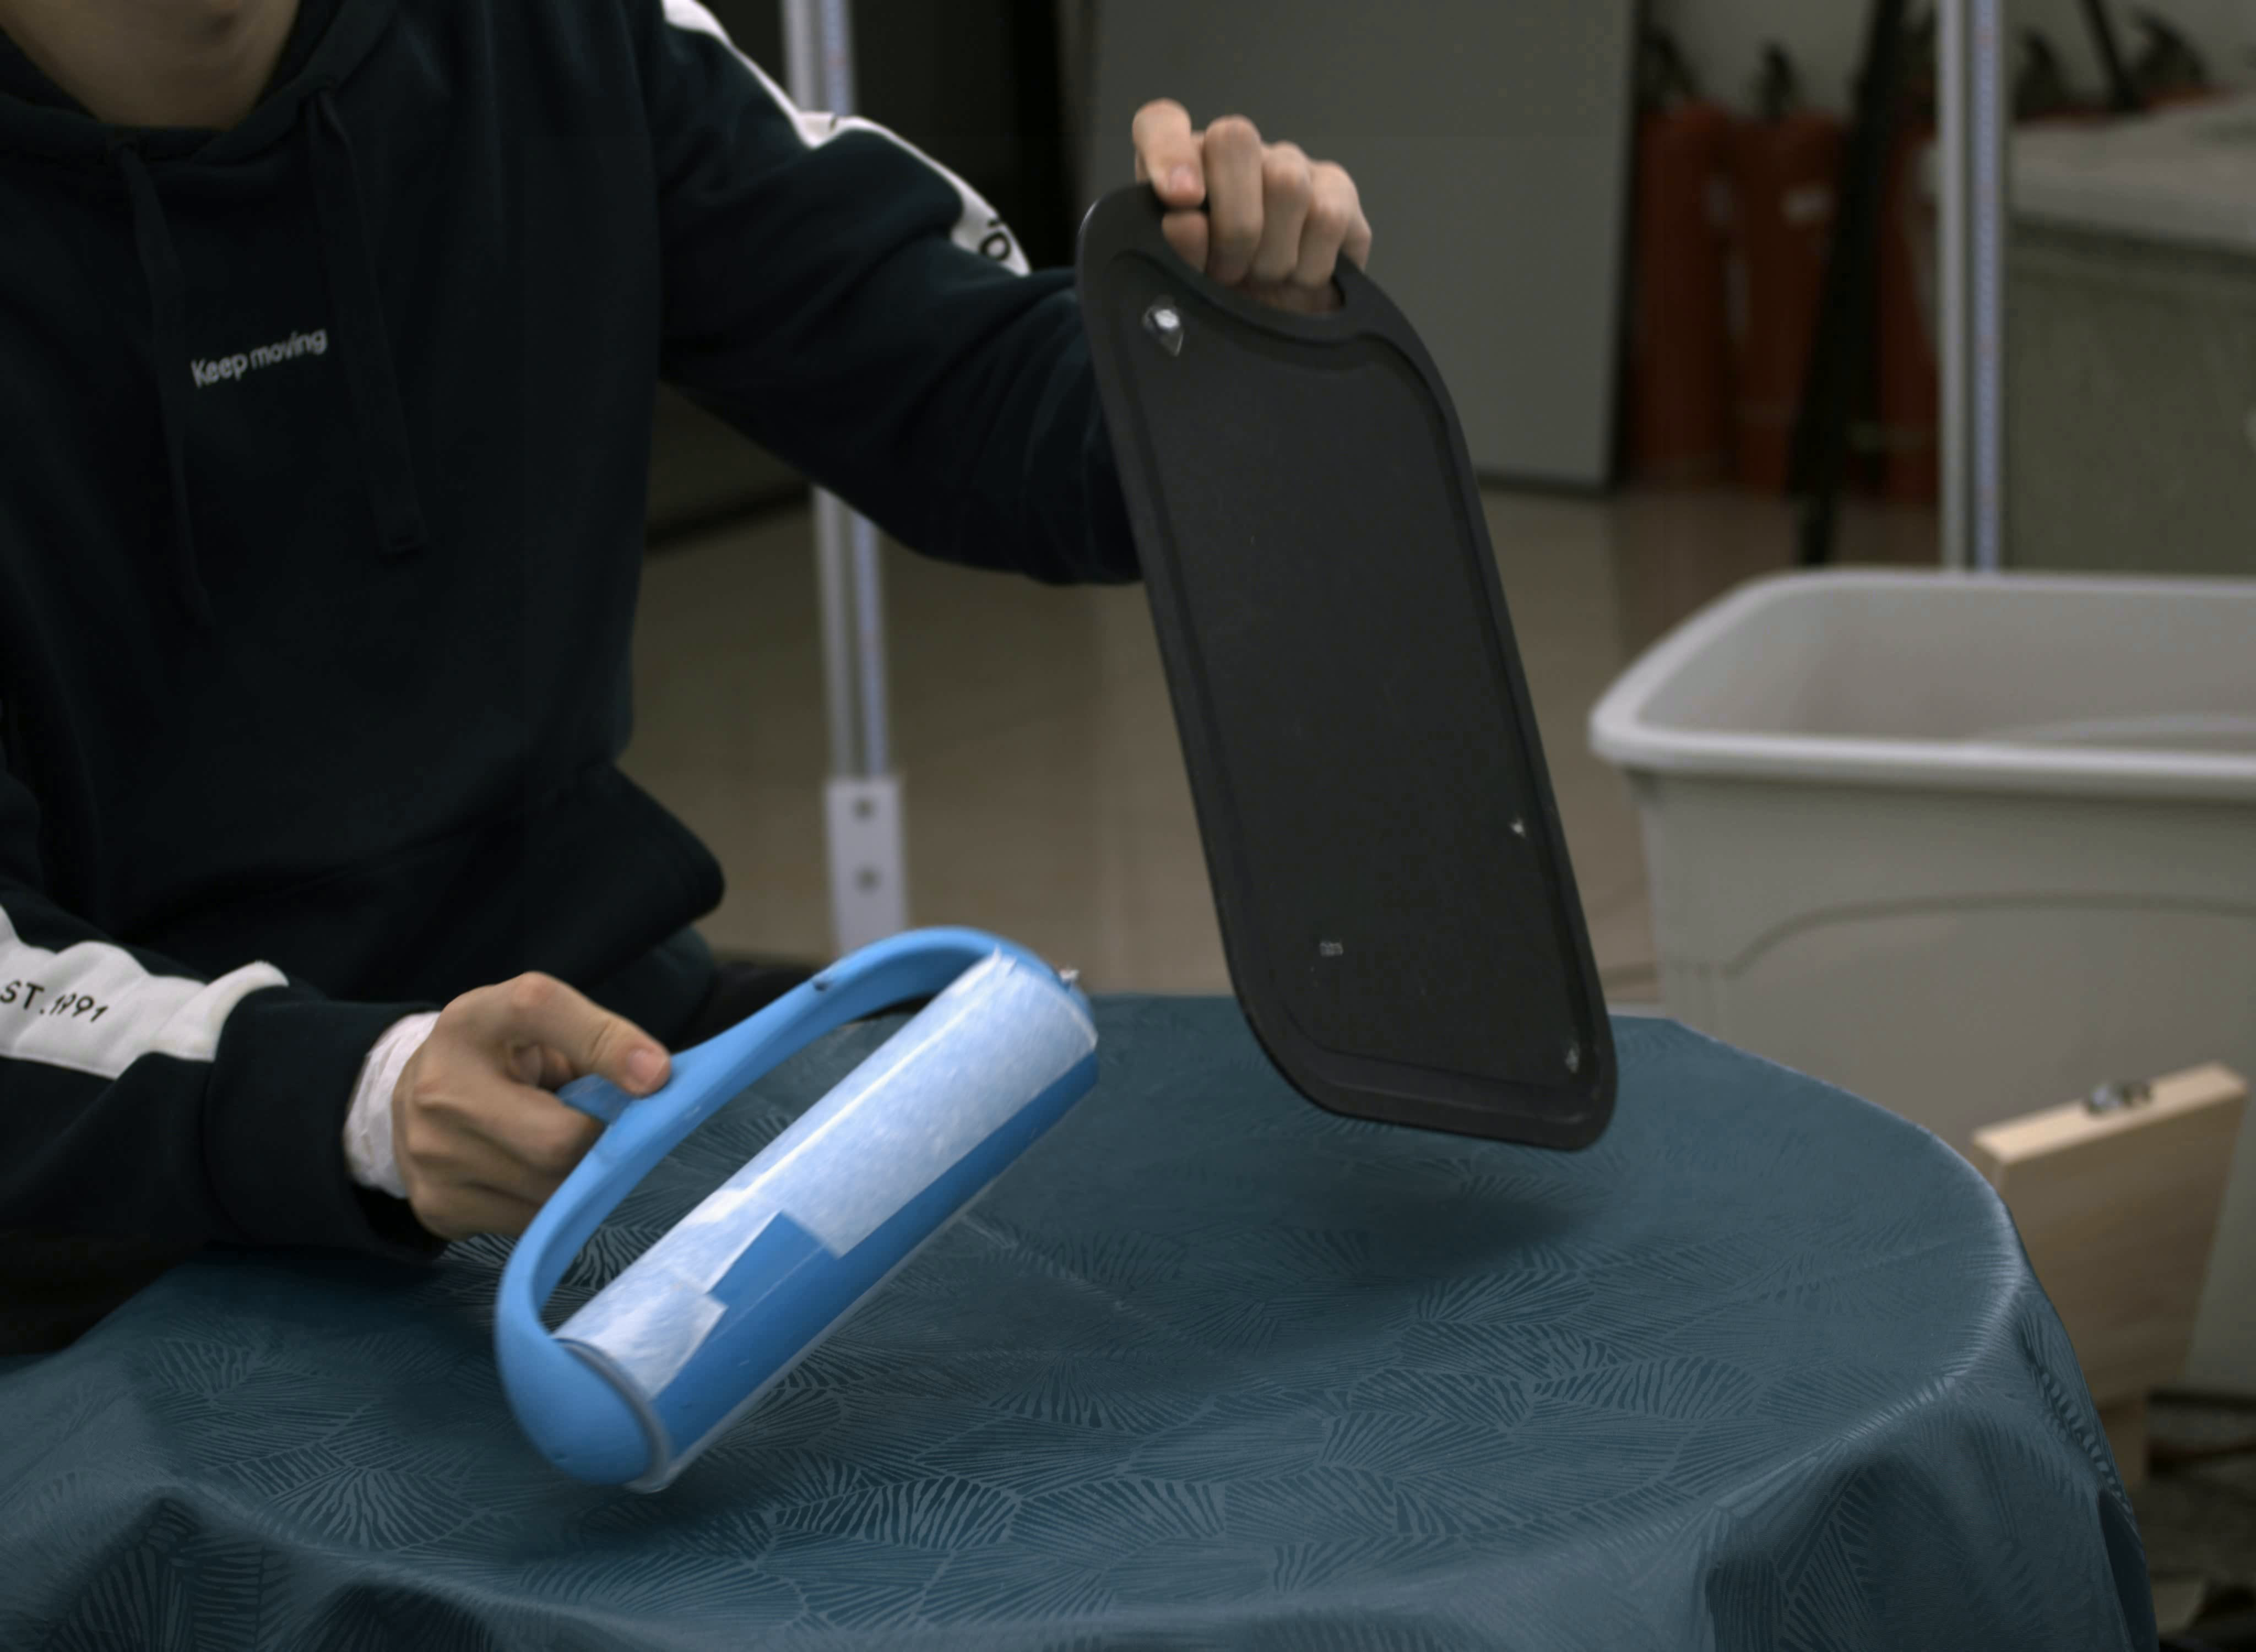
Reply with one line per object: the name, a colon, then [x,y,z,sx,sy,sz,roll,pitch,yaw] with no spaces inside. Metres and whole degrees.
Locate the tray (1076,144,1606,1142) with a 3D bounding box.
tray: [0.068,-0.062,1.688,0.010,0.330,0.207,-24,-22,32]

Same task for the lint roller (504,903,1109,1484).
lint roller: [-0.128,0.099,1.592,0.181,0.068,0.227,9,42,39]
